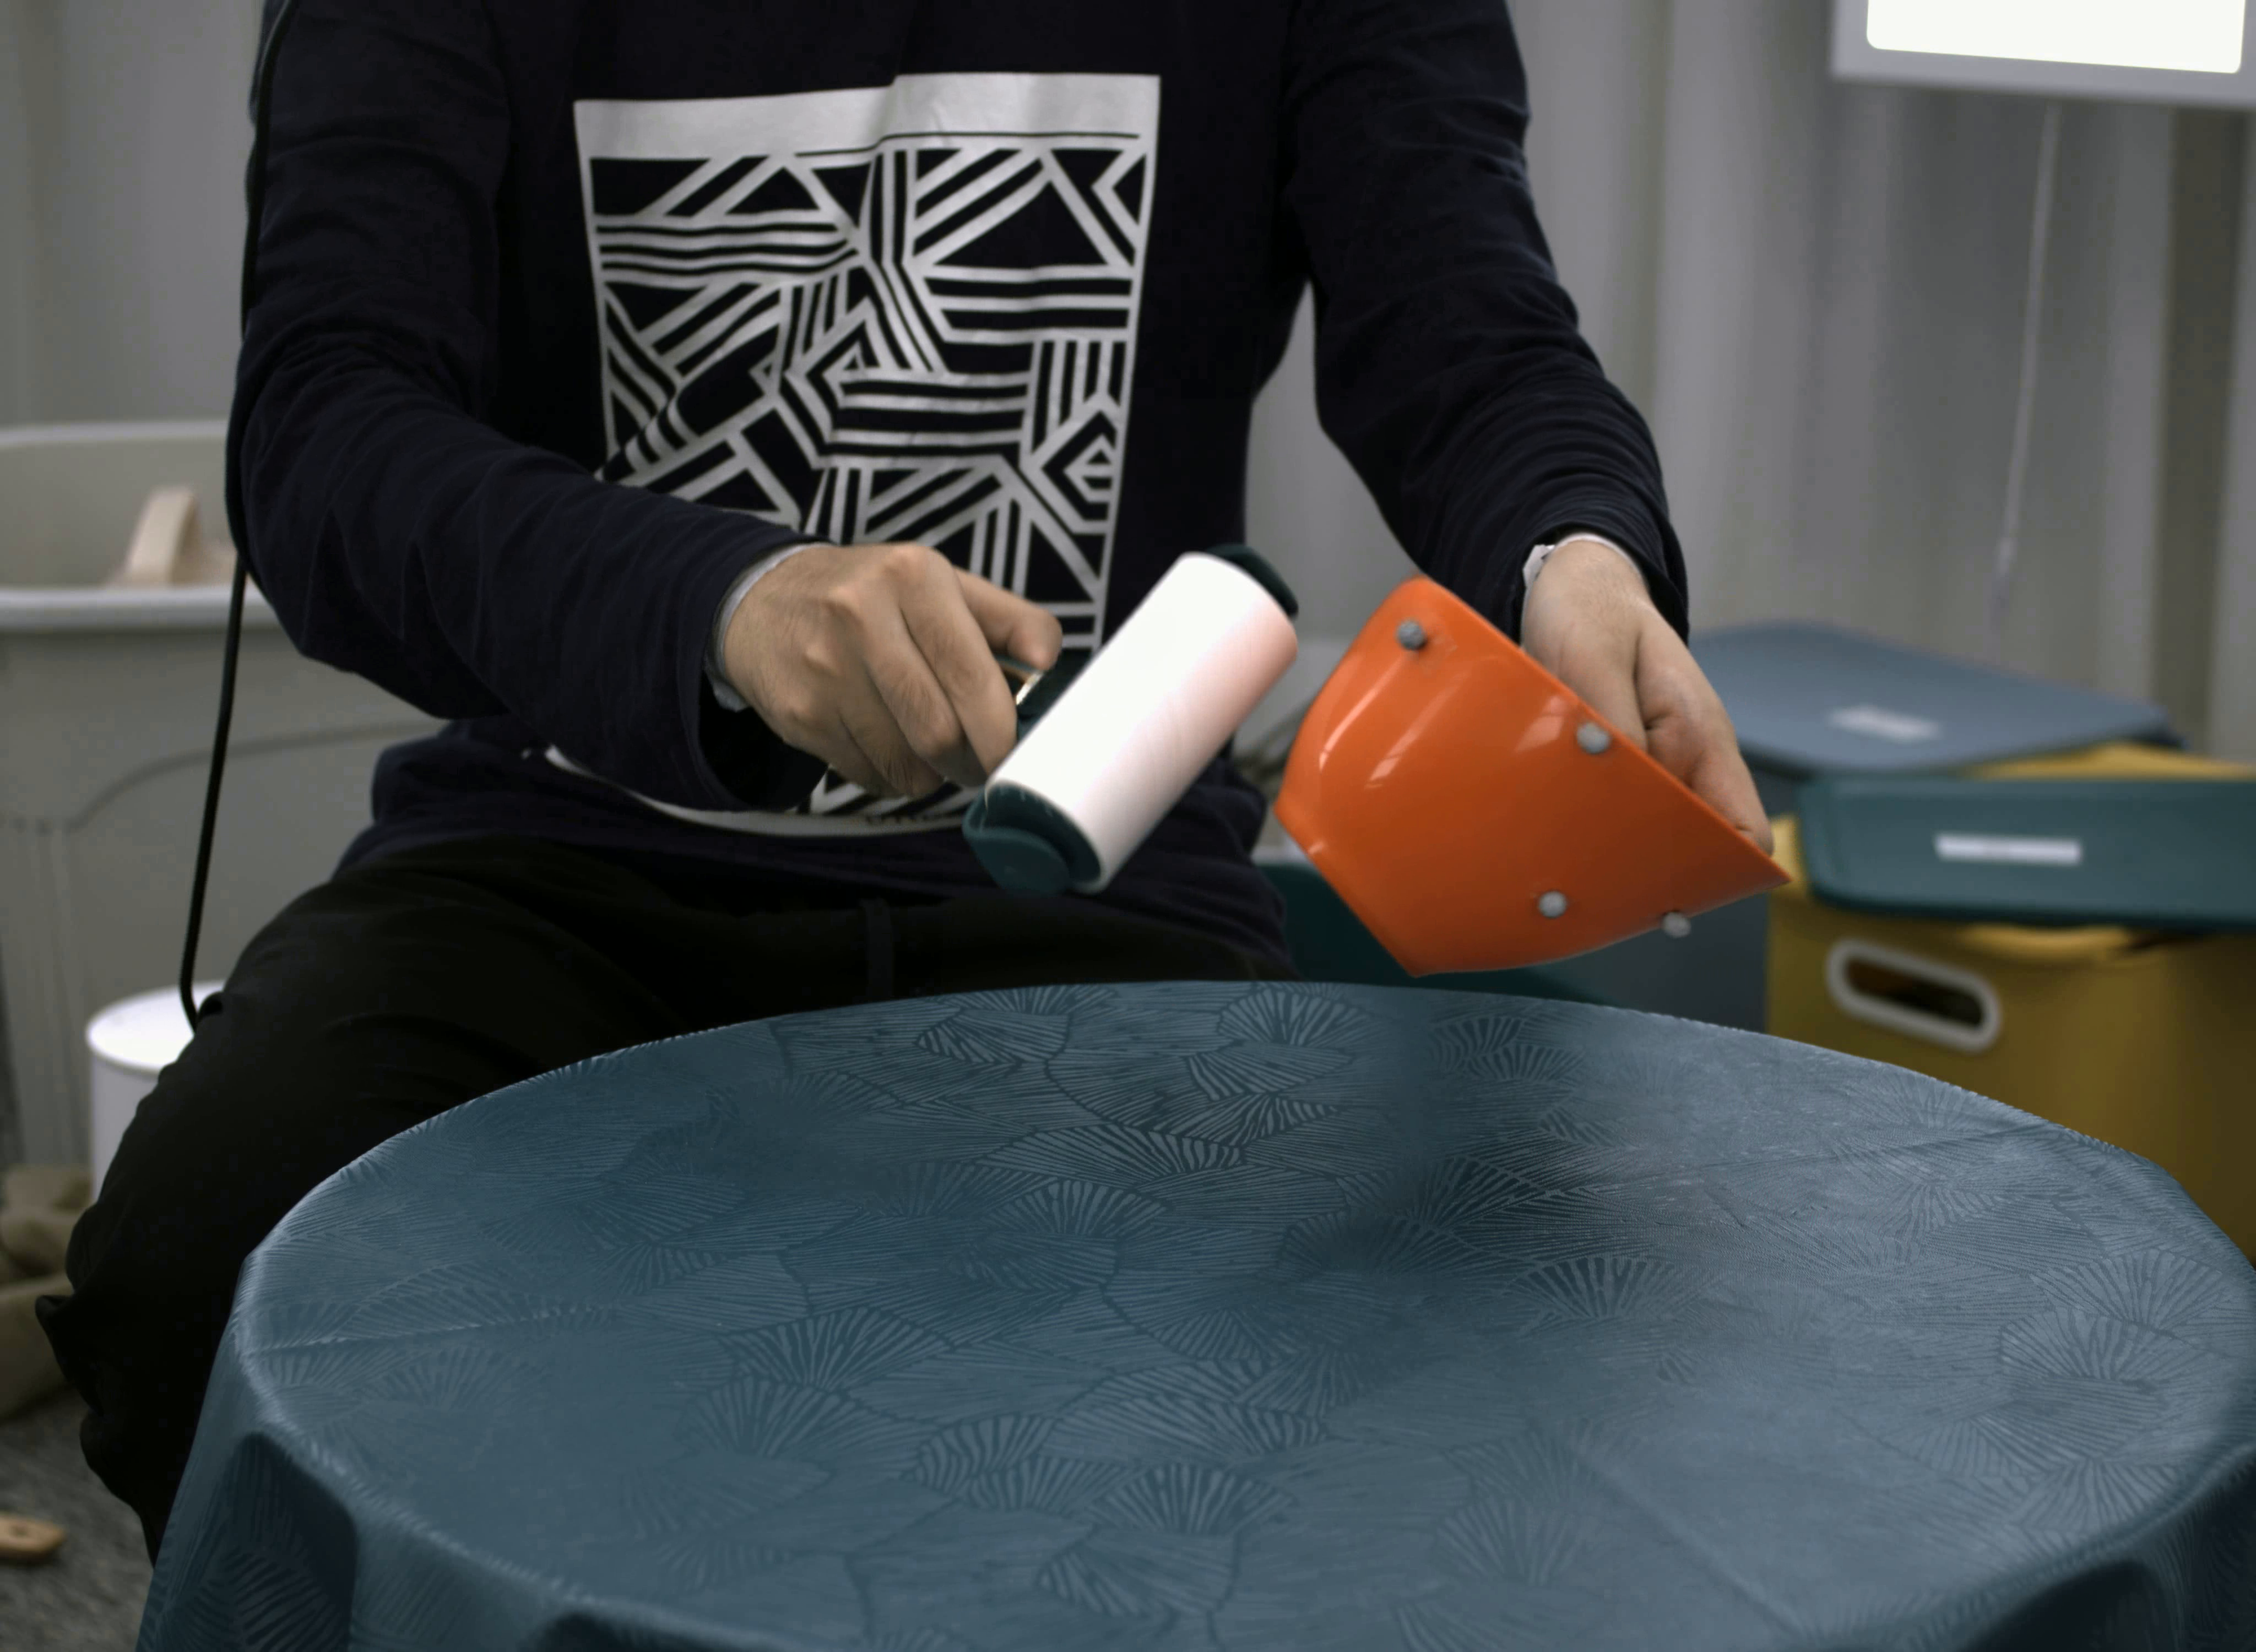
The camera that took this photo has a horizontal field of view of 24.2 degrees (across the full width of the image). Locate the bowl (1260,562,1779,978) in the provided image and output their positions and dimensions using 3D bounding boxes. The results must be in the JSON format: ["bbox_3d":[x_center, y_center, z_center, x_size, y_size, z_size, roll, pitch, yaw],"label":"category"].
[{"bbox_3d":[0.107,-0.003,1.573,0.104,0.149,0.146,-41,20,1],"label":"bowl"}]

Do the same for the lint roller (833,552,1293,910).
[{"bbox_3d":[-0.041,-0.038,1.649,0.178,0.049,0.134,12,54,46],"label":"lint roller"}]
